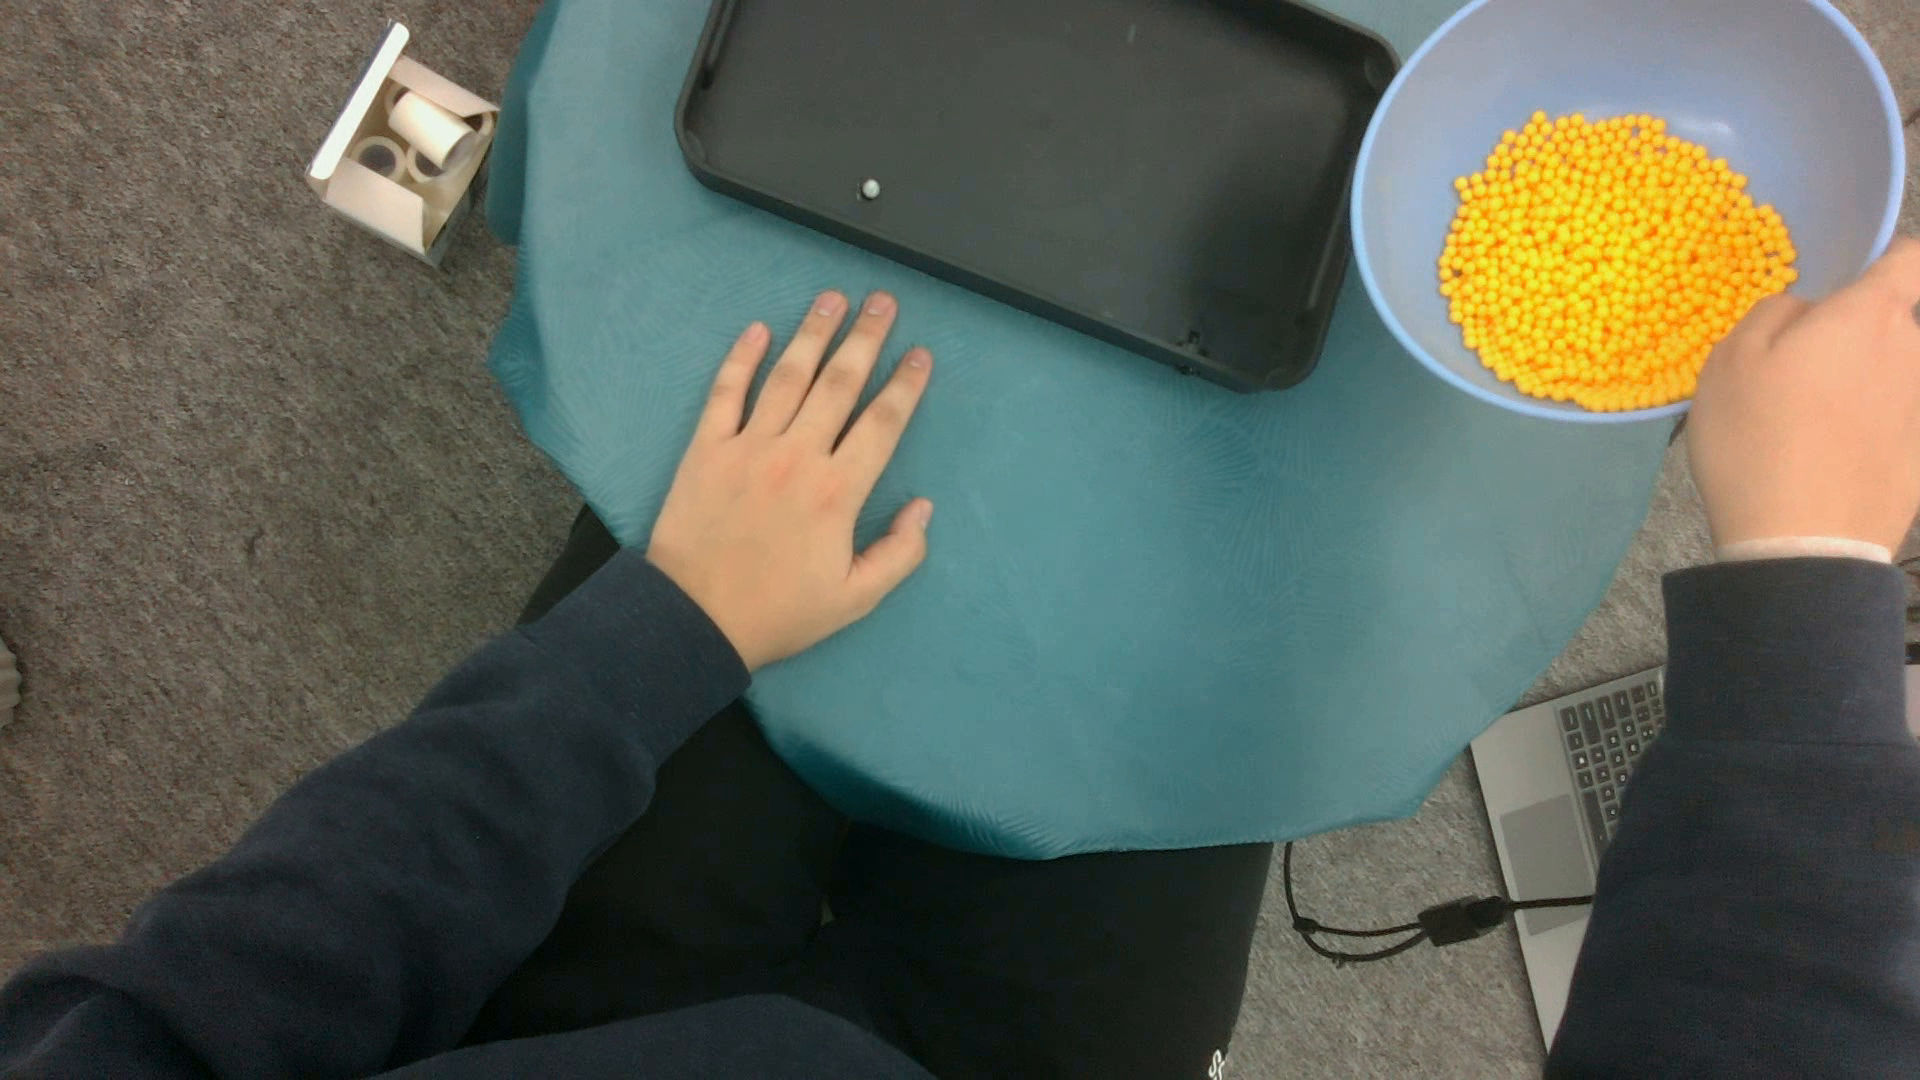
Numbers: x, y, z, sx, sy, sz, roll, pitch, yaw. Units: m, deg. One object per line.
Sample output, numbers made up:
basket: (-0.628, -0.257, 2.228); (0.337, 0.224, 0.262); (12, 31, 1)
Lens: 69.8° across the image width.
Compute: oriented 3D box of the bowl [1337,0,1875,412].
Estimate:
bowl: (0.271, -0.141, 0.592); (0.196, 0.095, 0.197); (-4, 80, 25)

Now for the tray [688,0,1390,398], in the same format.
tray: (0.045, -0.199, 0.666); (0.318, 0.037, 0.184); (18, 85, -10)
